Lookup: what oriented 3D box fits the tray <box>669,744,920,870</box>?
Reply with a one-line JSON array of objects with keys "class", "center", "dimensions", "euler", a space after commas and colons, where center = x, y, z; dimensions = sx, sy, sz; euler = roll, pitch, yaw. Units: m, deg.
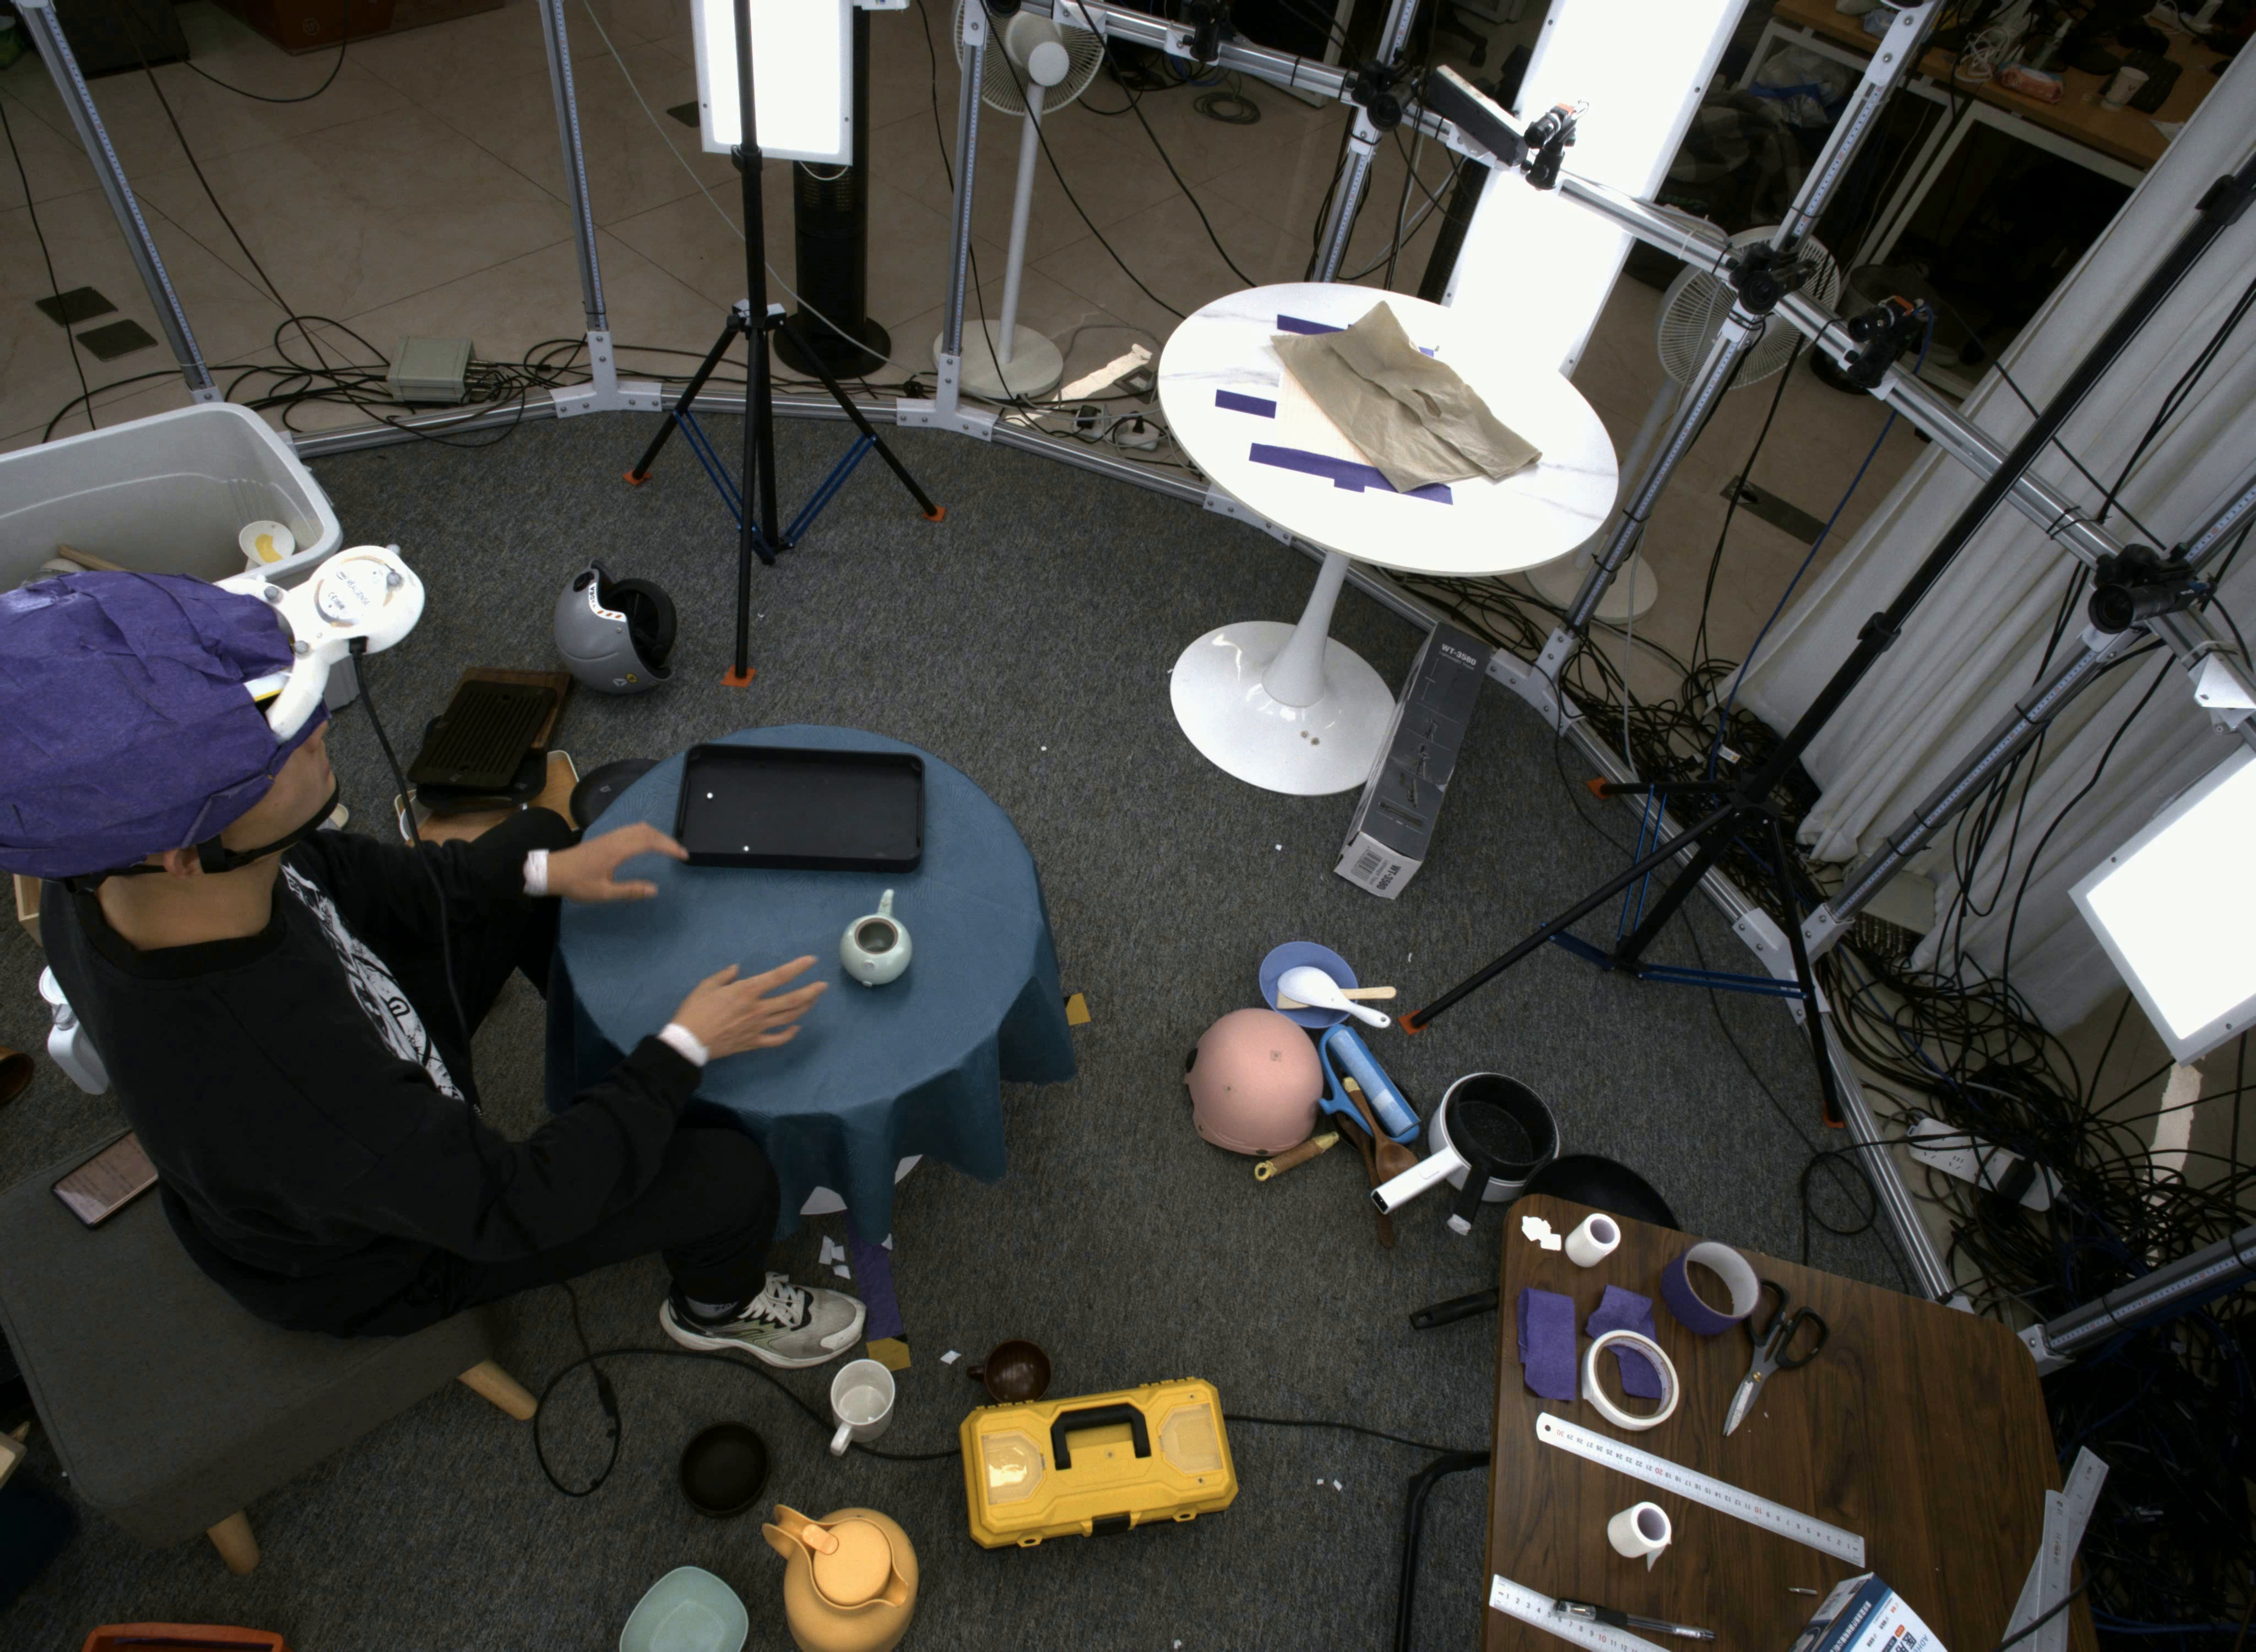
[{"class": "tray", "center": [-0.436, -0.026, 1.714], "dimensions": [0.318, 0.038, 0.180], "euler": [1, 54, -14]}]

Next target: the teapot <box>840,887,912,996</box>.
[{"class": "teapot", "center": [-0.309, 0.149, 1.593], "dimensions": [0.088, 0.076, 0.141], "euler": [13, 50, -3]}]
